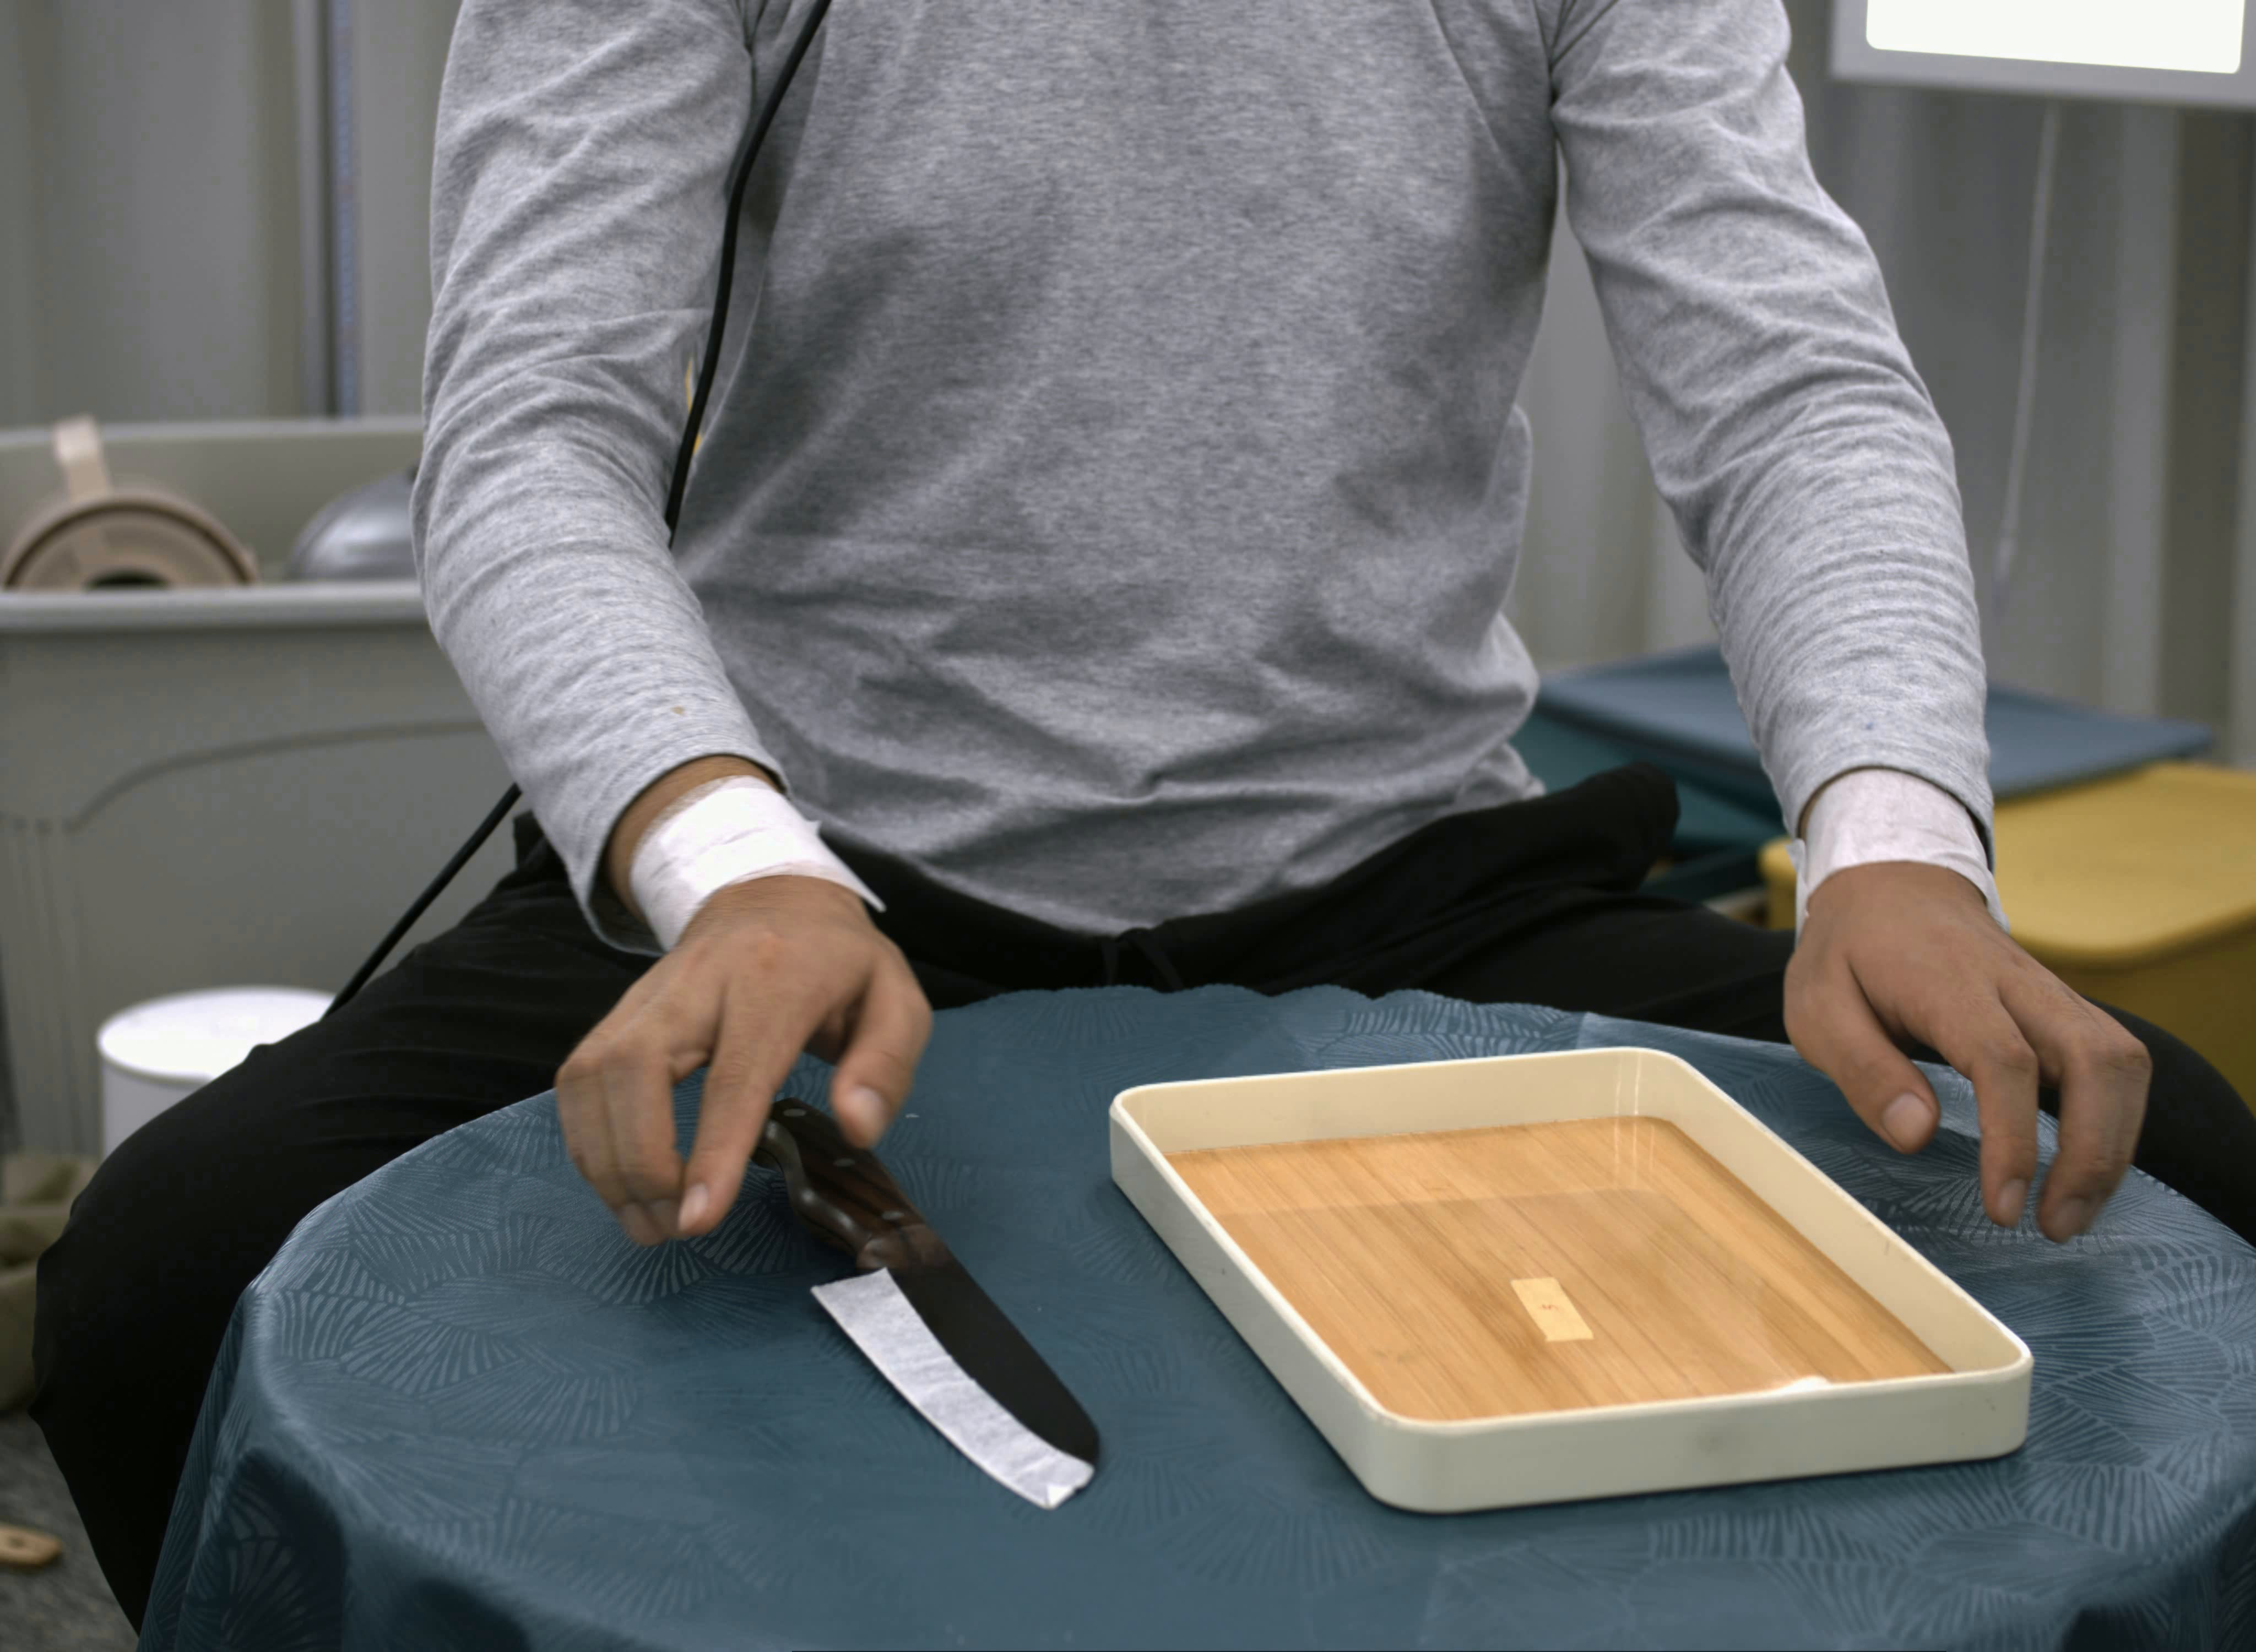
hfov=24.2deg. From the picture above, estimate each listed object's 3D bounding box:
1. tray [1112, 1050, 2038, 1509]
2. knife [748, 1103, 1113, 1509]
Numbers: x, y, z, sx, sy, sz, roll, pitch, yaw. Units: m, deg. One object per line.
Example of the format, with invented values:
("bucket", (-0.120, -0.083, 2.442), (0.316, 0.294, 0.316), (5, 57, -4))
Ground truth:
("tray", (0.121, 0.126, 1.531), (0.192, 0.027, 0.297), (-3, 16, -15))
("knife", (-0.061, 0.136, 1.509), (0.050, 0.020, 0.286), (-10, 20, -16))
